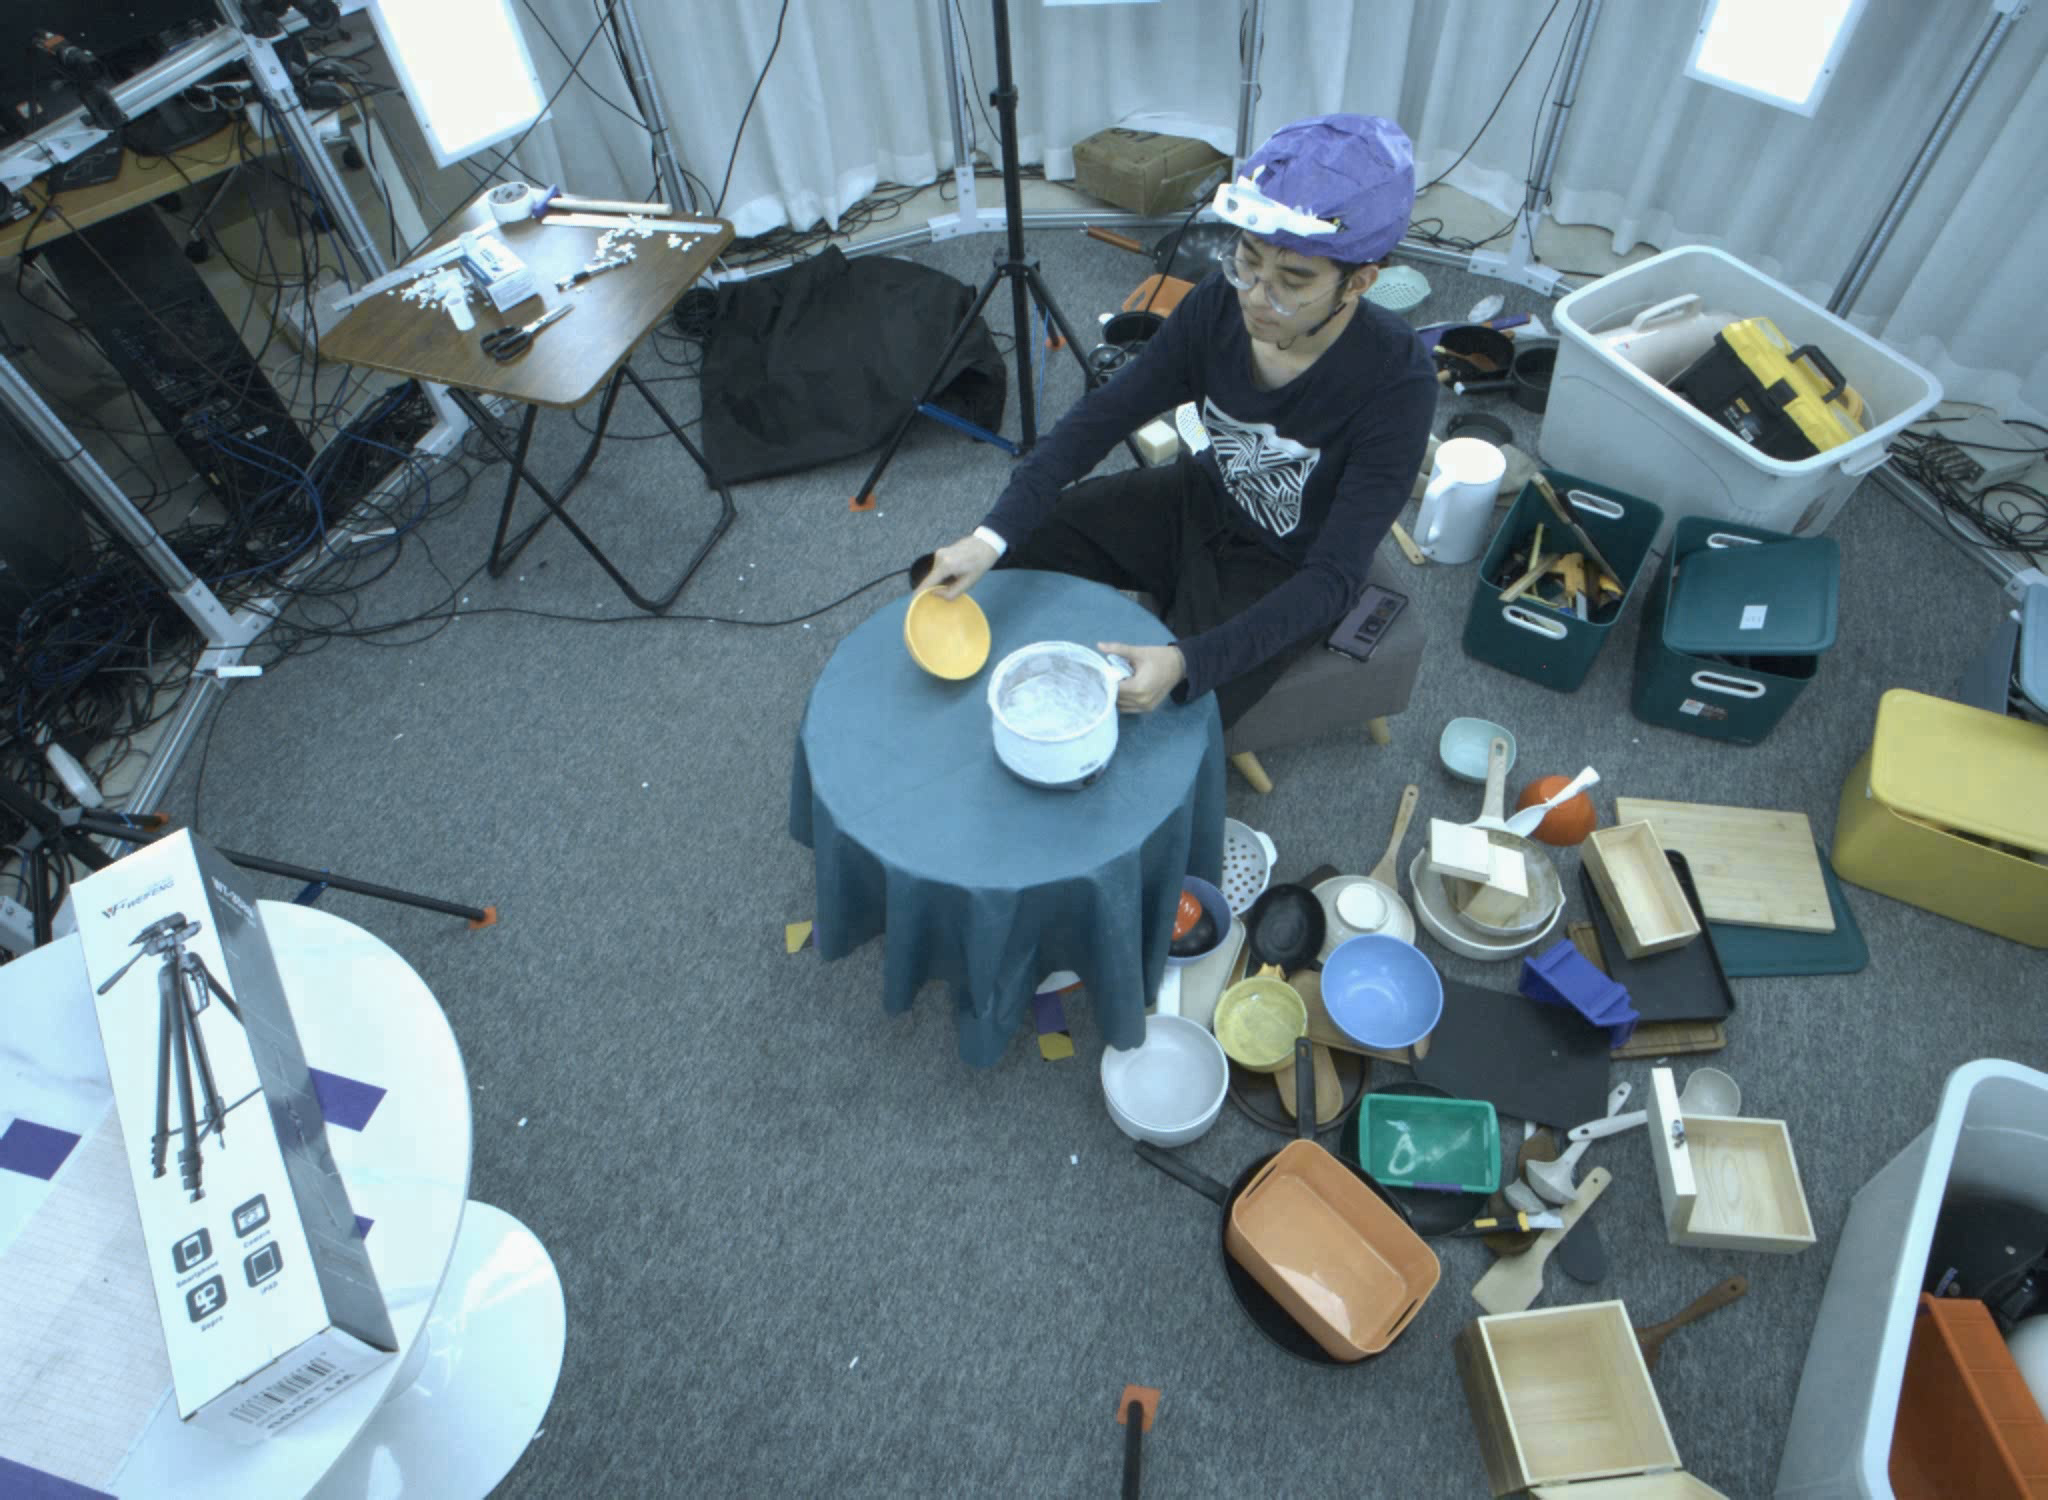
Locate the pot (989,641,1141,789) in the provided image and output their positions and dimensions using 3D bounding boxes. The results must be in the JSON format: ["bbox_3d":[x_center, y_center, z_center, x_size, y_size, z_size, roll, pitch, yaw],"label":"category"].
[{"bbox_3d":[0.065,-0.059,1.750,0.235,0.138,0.175,-30,61,-18],"label":"pot"}]

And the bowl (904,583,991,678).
[{"bbox_3d":[-0.127,-0.177,1.860,0.148,0.059,0.145,5,82,-33],"label":"bowl"}]
